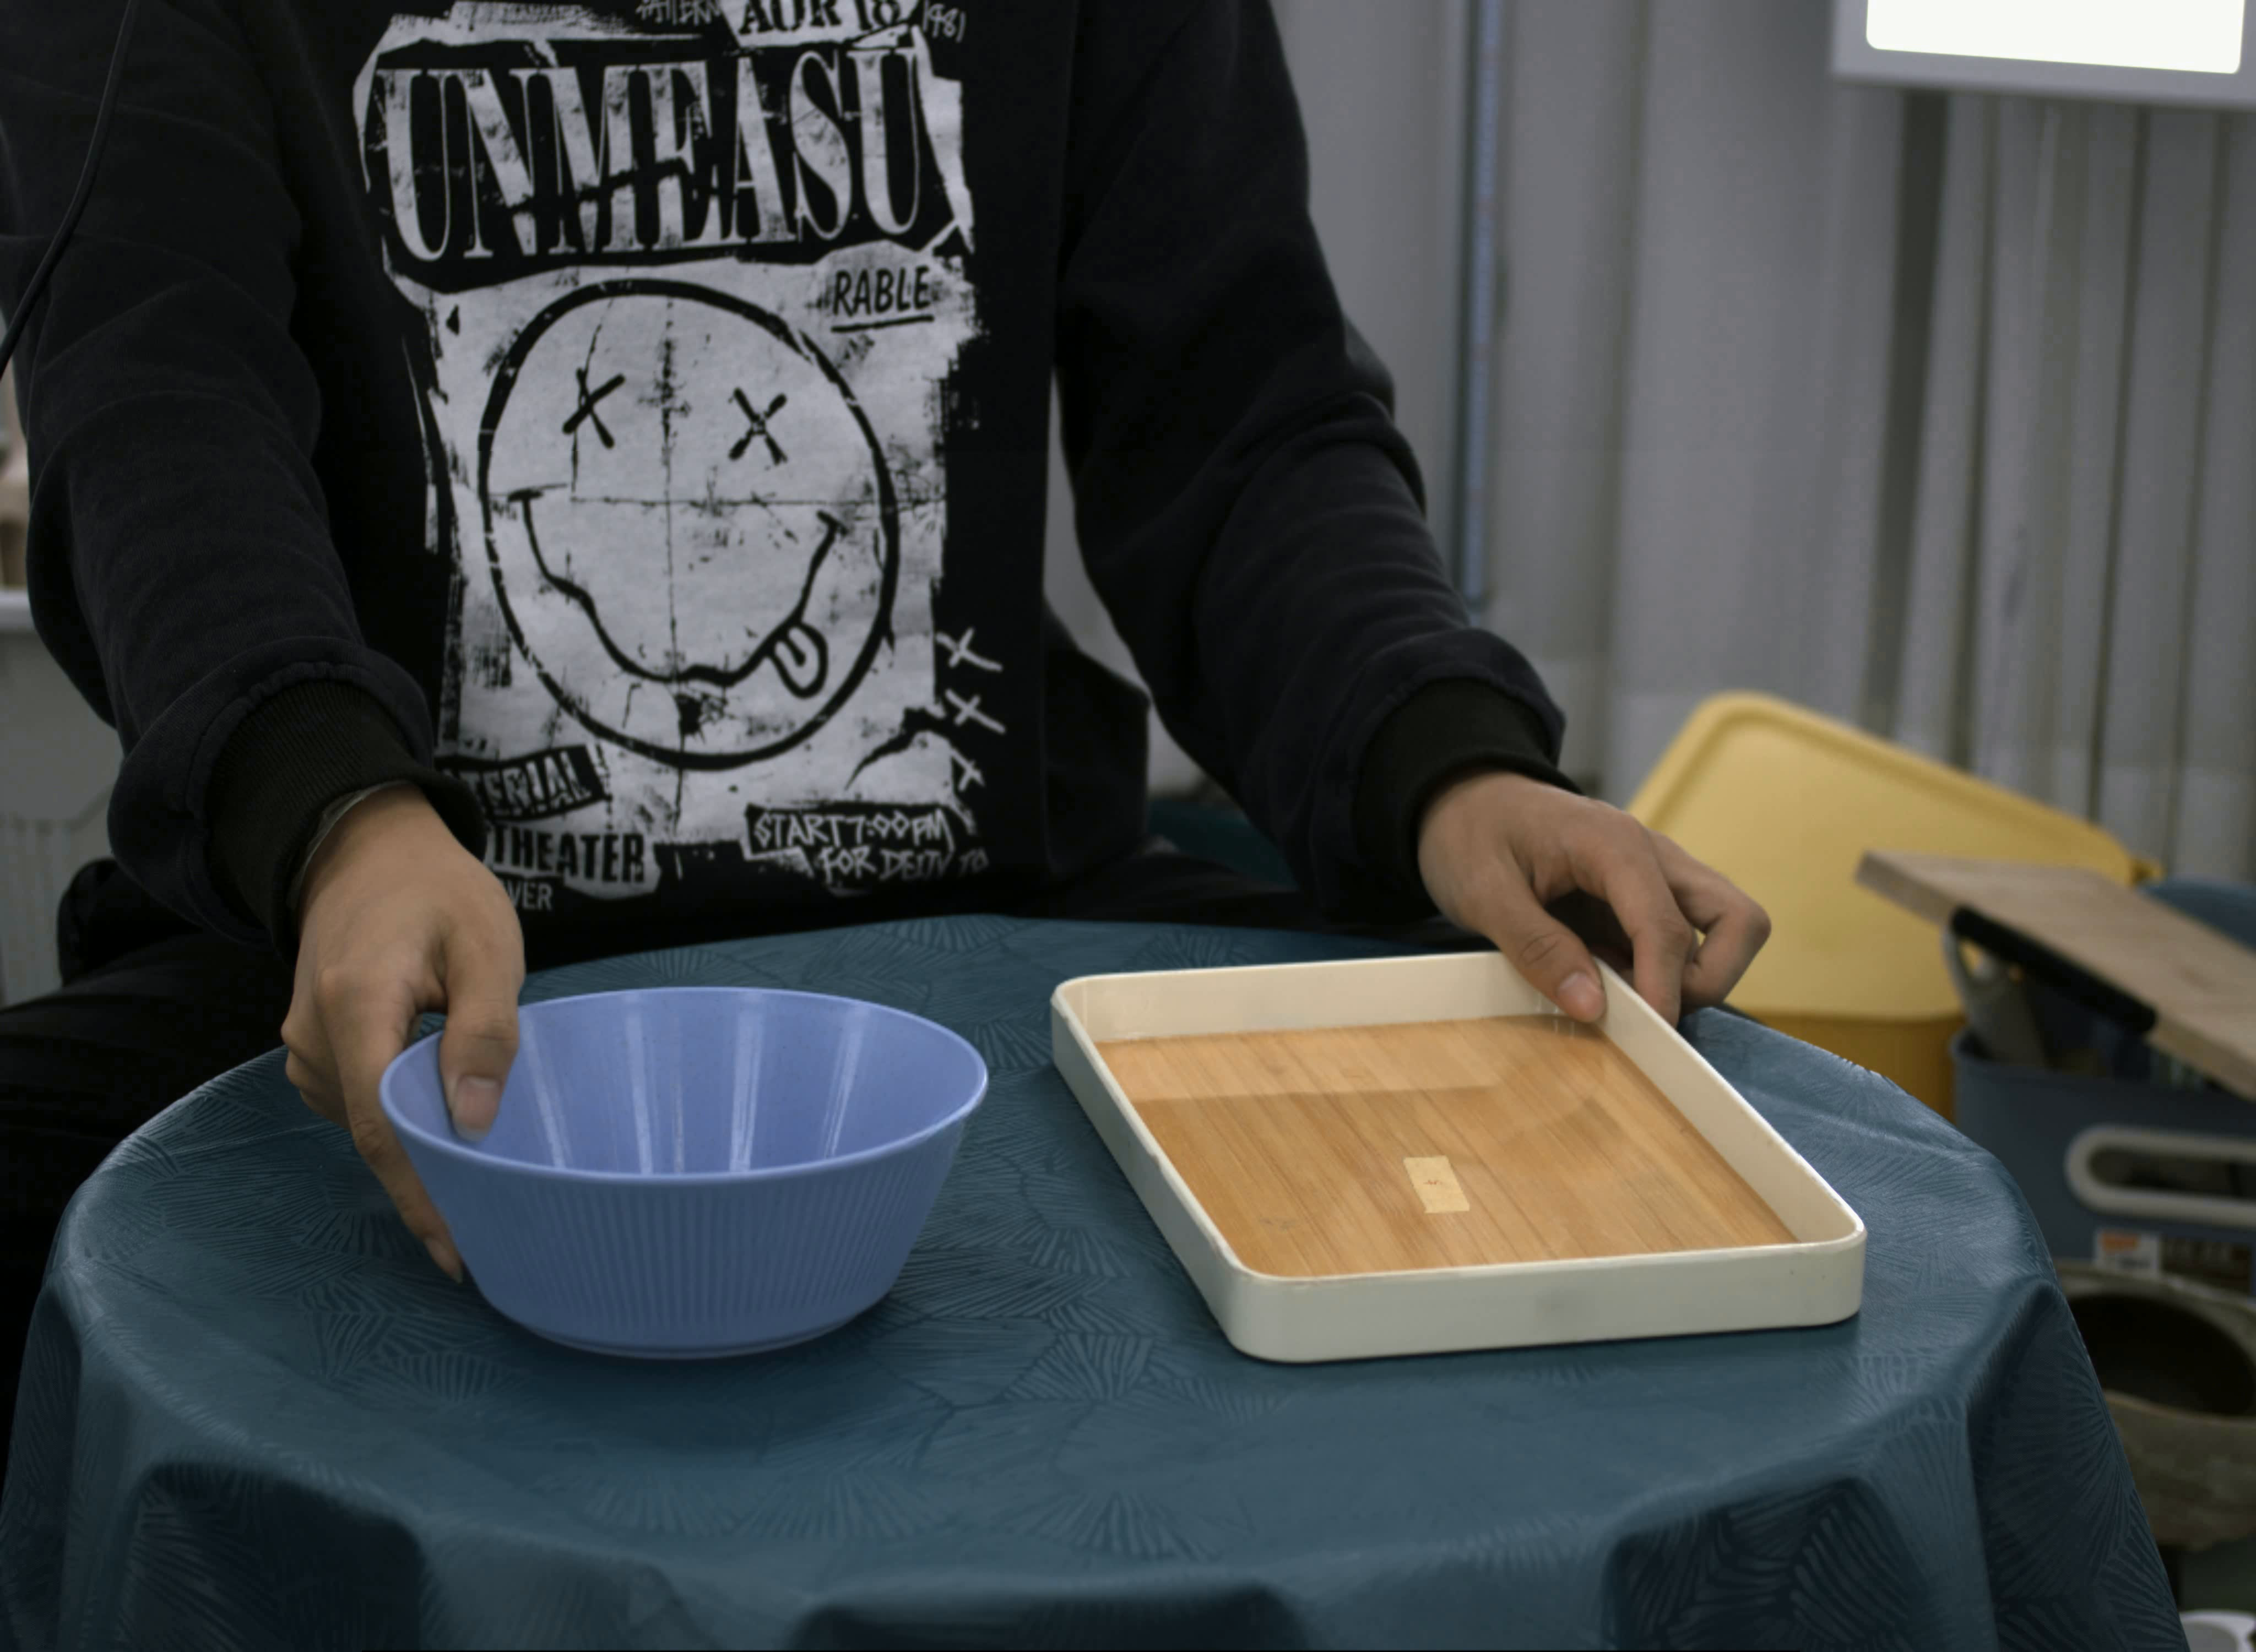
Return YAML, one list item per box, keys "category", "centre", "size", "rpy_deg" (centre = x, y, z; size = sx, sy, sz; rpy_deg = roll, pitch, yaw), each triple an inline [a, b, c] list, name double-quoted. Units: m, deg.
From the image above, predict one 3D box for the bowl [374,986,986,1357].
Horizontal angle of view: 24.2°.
- category: "bowl"
  centre: [-0.129, 0.103, 1.525]
  size: [0.175, 0.071, 0.175]
  rpy_deg: [2, 16, 0]

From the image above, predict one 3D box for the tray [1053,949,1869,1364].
- category: "tray"
  centre: [0.095, 0.098, 1.635]
  size: [0.192, 0.027, 0.297]
  rpy_deg: [-2, 16, -12]
